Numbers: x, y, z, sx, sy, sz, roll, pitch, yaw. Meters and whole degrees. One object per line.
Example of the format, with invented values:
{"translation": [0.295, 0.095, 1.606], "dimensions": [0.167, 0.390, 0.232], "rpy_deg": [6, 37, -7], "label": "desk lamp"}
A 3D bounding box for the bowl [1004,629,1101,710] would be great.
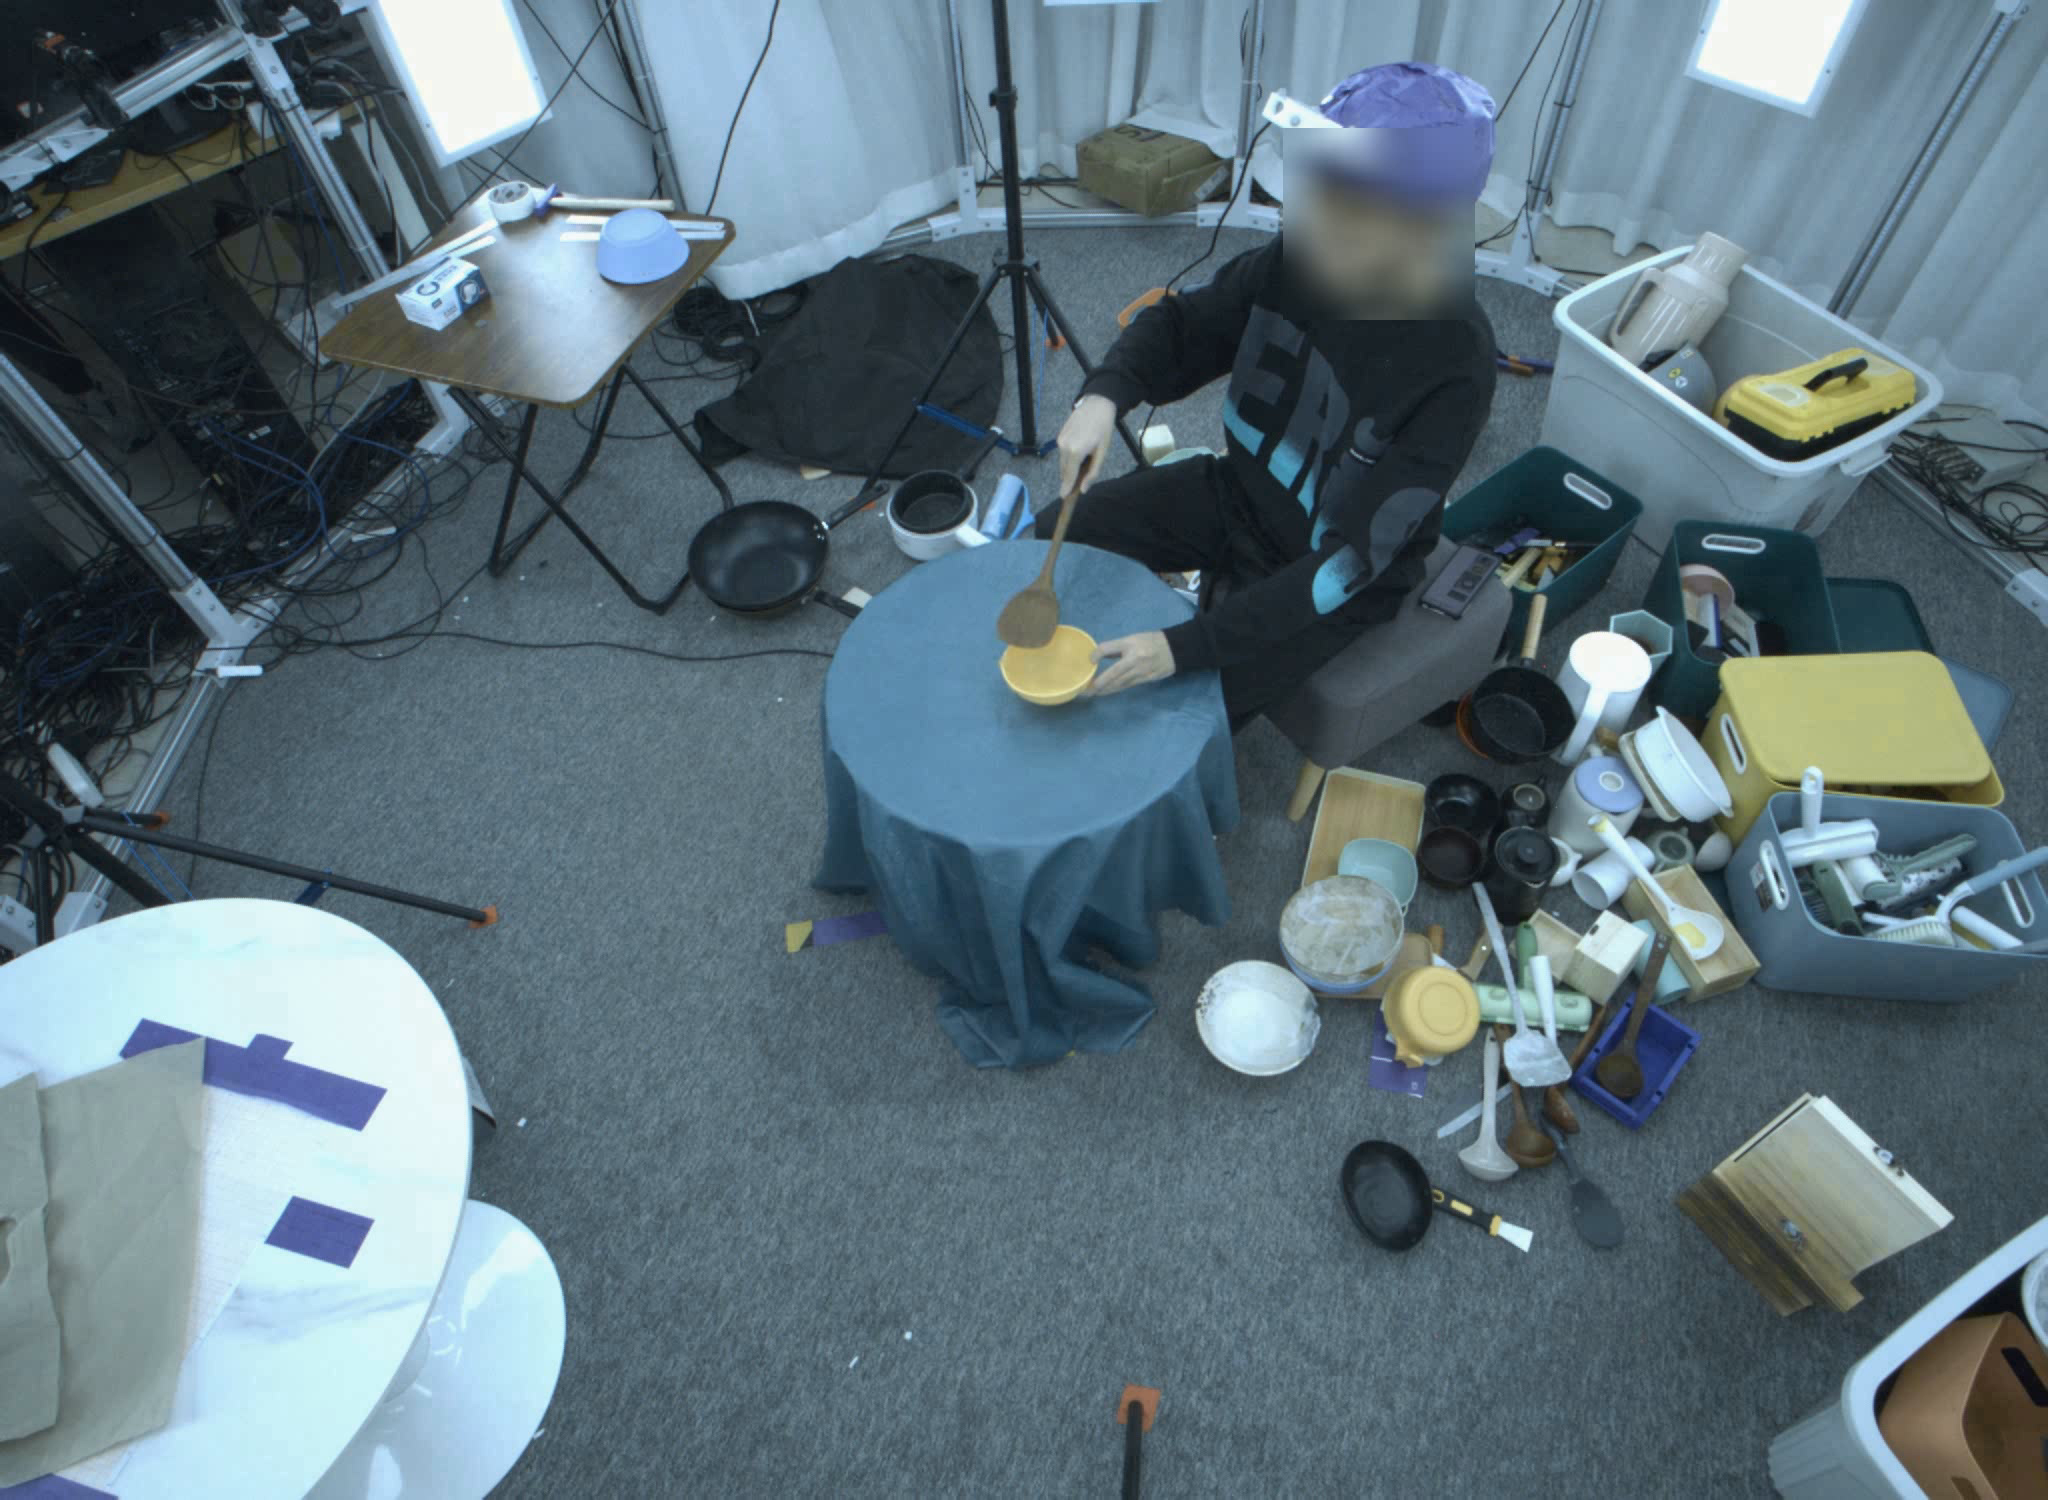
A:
{"translation": [0.044, -0.108, 1.826], "dimensions": [0.145, 0.061, 0.144], "rpy_deg": [-2, 52, 4], "label": "bowl"}

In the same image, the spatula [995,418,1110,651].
{"translation": [0.056, -0.327, 1.817], "dimensions": [0.094, 0.016, 0.385], "rpy_deg": [16, 82, 24], "label": "spatula"}
